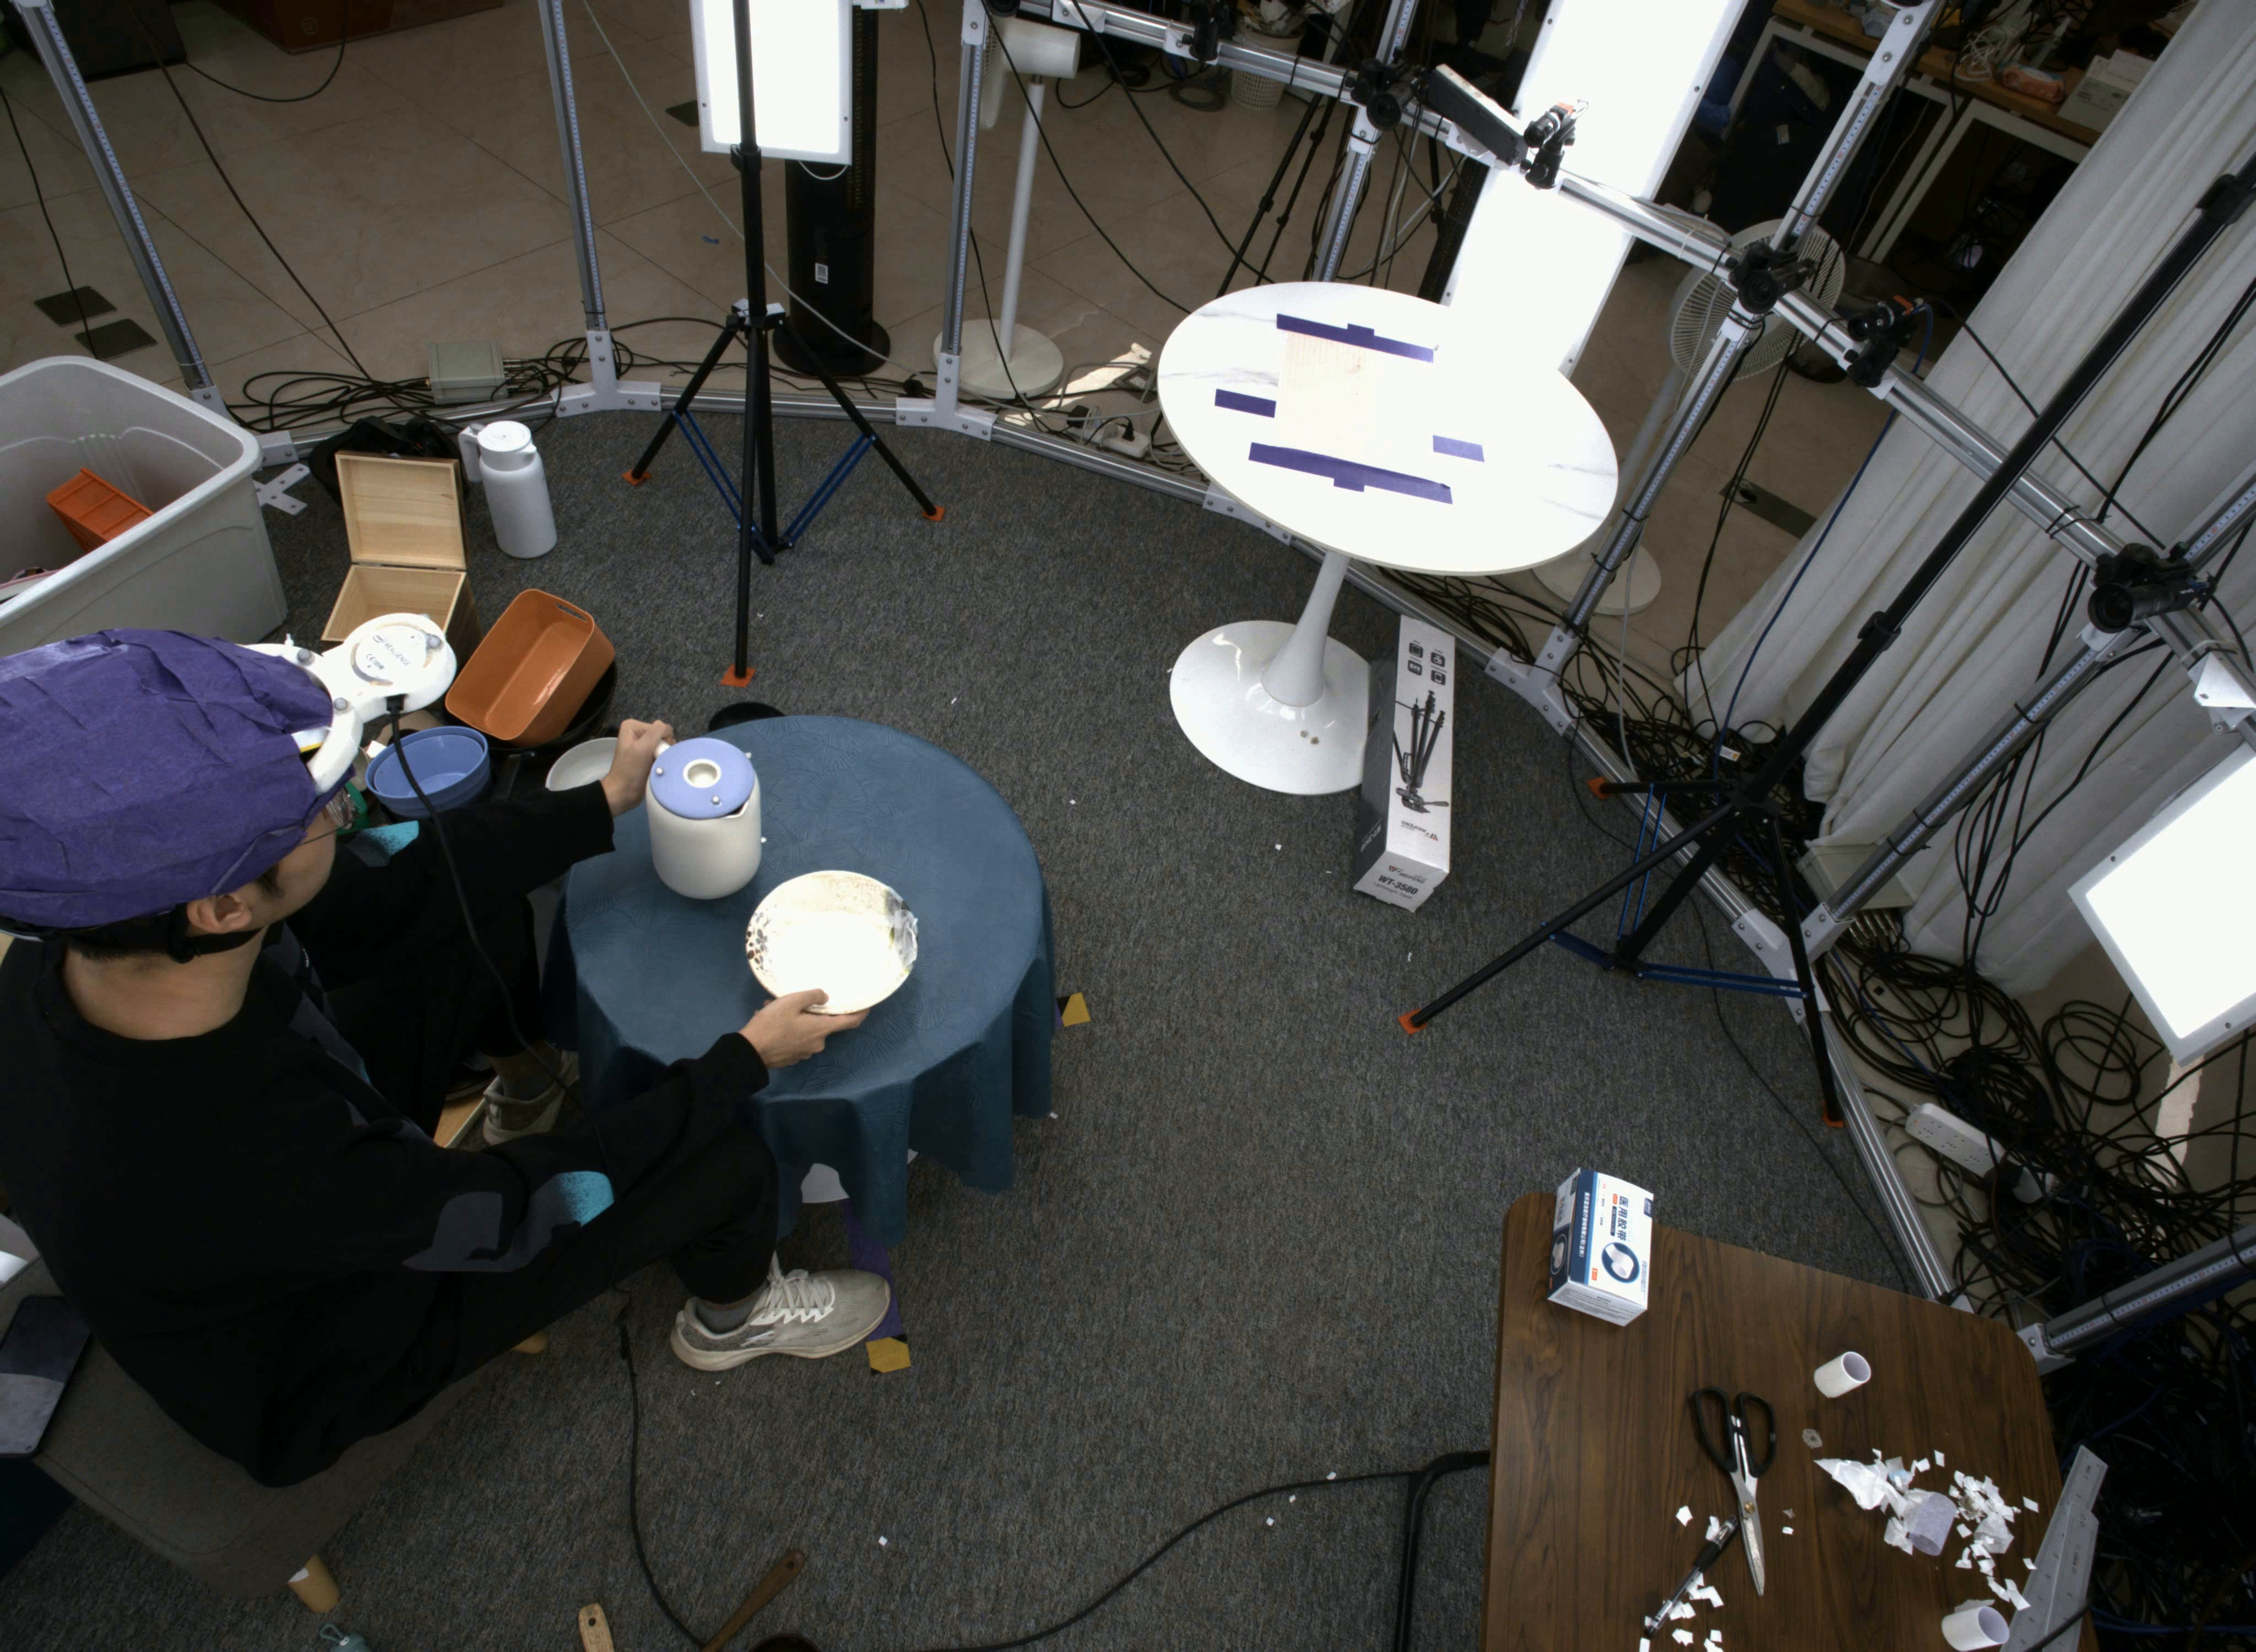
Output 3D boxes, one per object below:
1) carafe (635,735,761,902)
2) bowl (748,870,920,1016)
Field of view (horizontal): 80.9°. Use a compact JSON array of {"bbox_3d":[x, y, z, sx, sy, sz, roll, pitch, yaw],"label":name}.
[{"bbox_3d":[-0.530,-0.024,1.559,0.187,0.186,0.132,36,52,15],"label":"carafe"},{"bbox_3d":[-0.356,0.156,1.585,0.203,0.079,0.200,6,55,-7],"label":"bowl"}]
